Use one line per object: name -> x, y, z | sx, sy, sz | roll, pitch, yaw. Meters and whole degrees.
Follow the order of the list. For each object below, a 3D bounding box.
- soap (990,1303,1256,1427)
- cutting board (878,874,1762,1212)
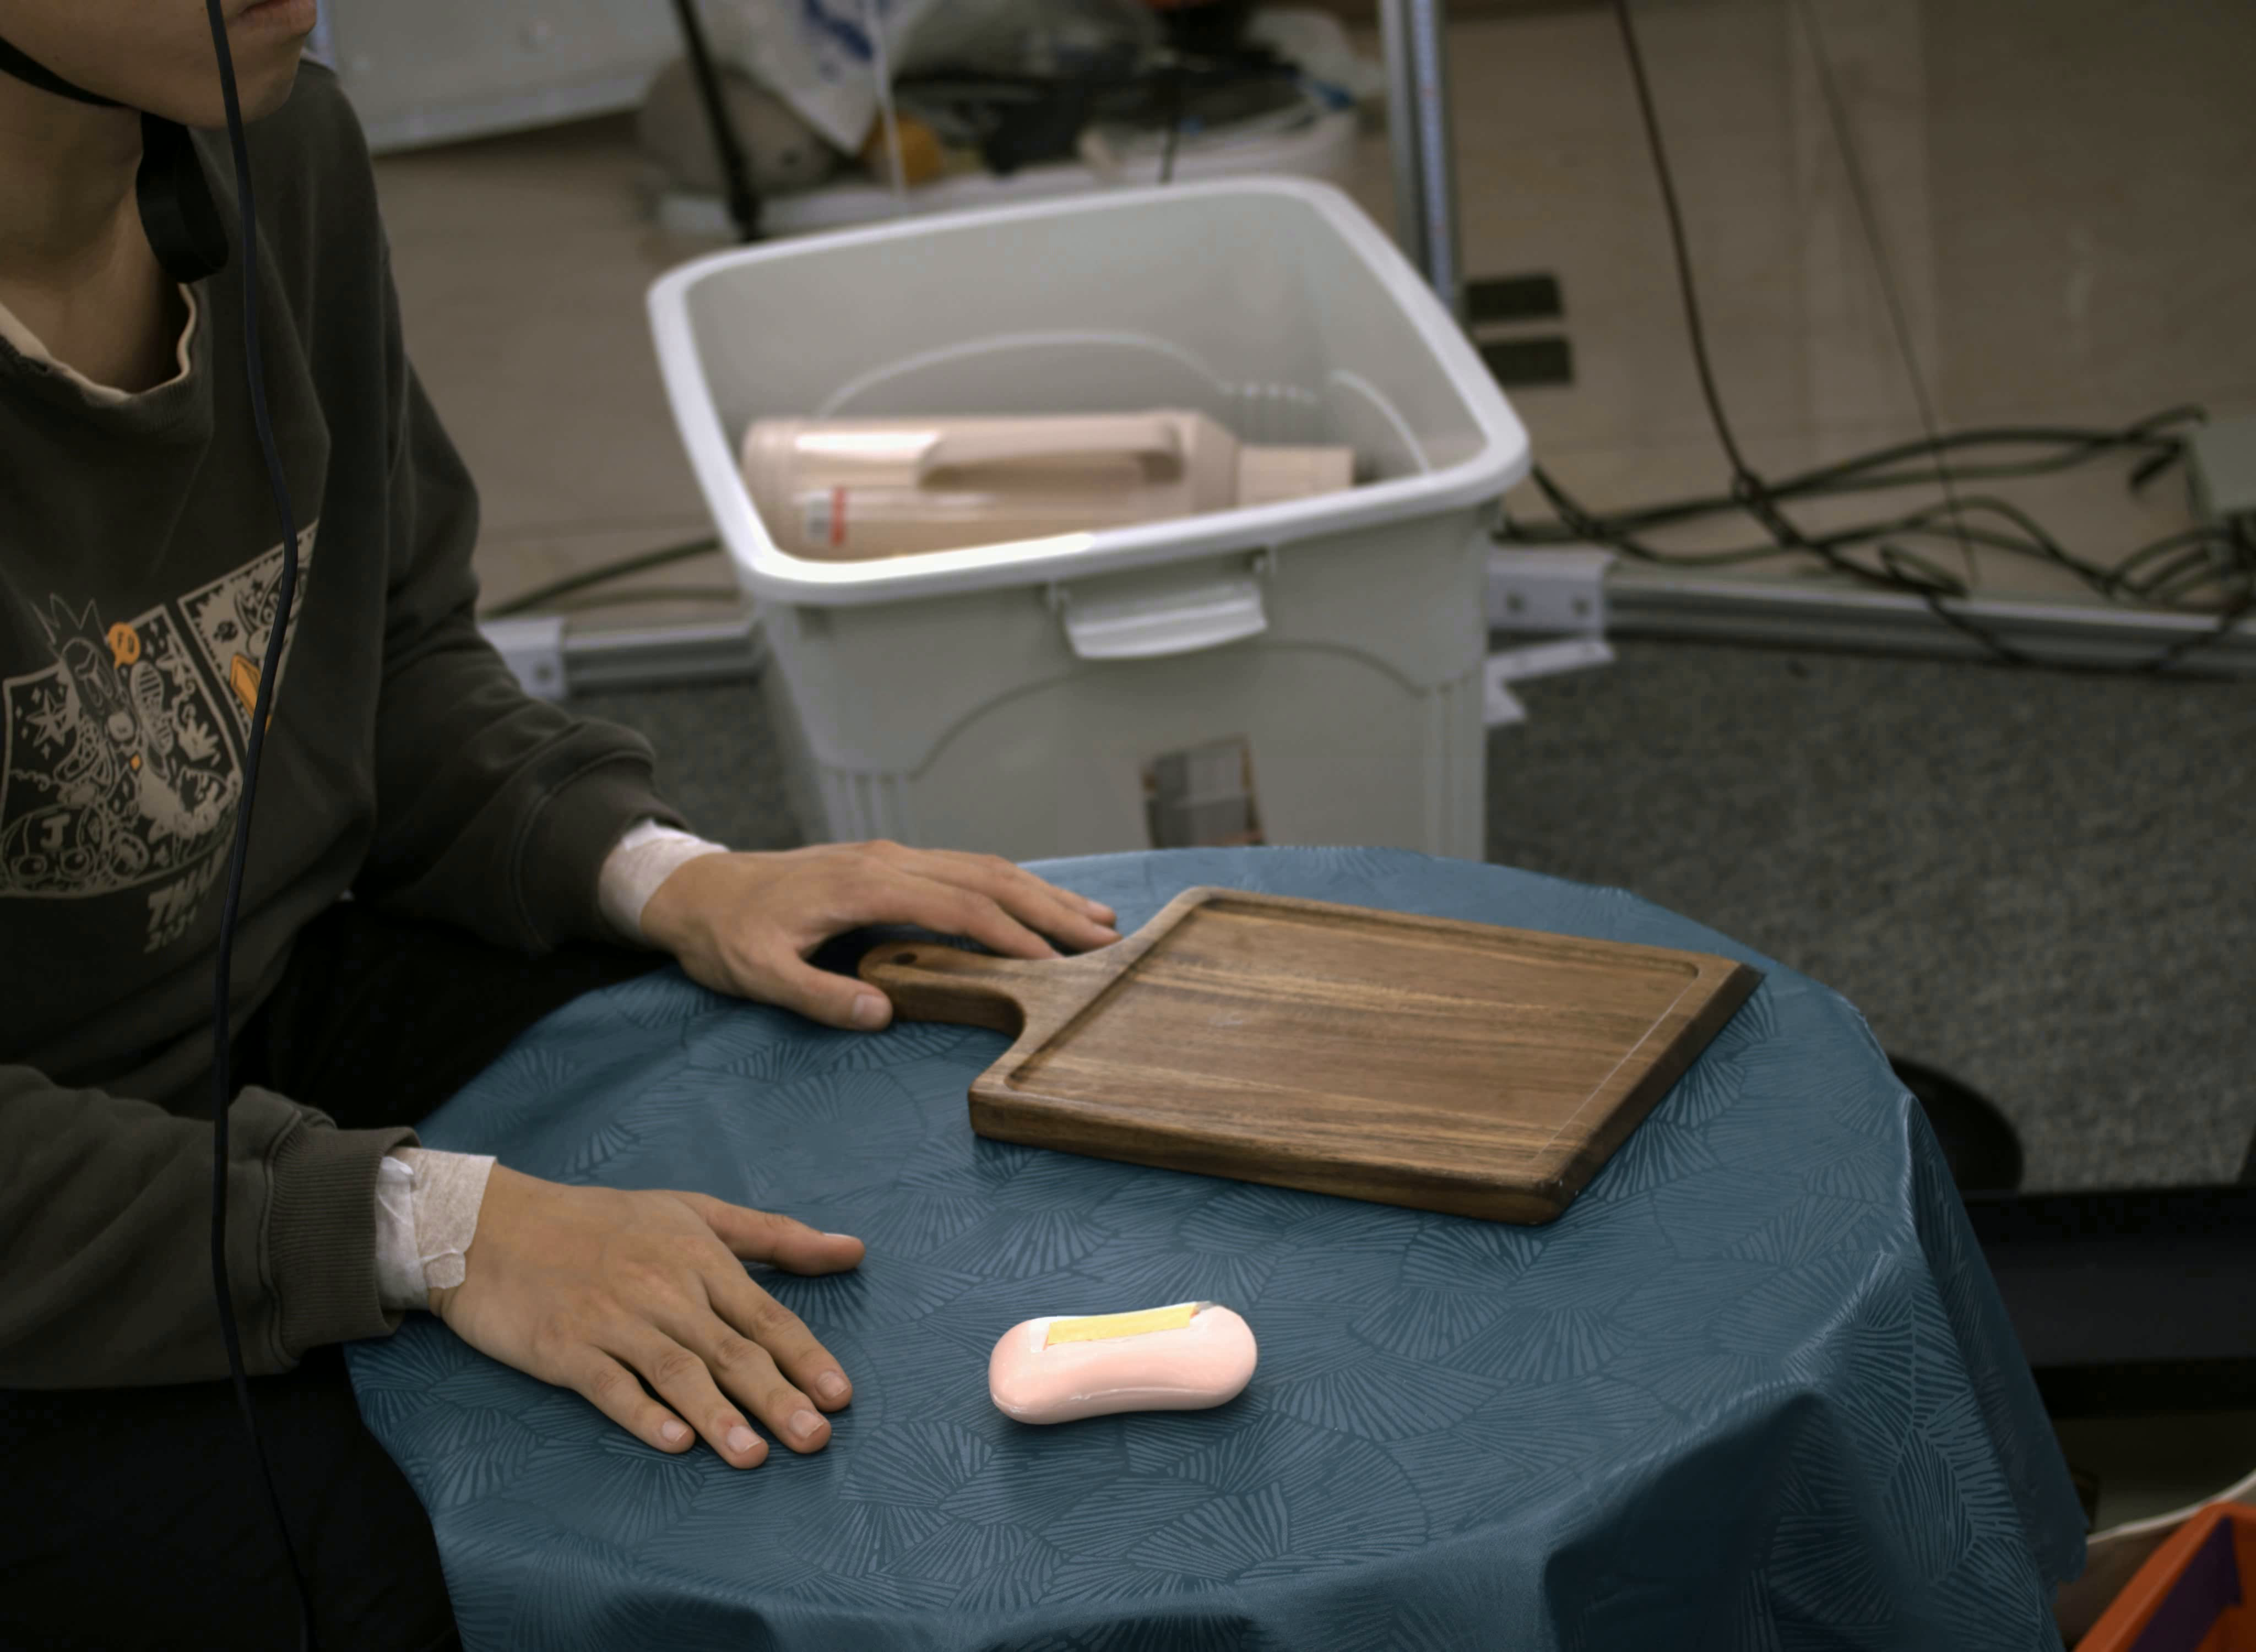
soap -> -0.002, 0.190, 2.004 | 0.094, 0.031, 0.049 | -7, 24, 3
cutting board -> 0.055, 0.075, 2.244 | 0.350, 0.023, 0.198 | 8, 29, 29
